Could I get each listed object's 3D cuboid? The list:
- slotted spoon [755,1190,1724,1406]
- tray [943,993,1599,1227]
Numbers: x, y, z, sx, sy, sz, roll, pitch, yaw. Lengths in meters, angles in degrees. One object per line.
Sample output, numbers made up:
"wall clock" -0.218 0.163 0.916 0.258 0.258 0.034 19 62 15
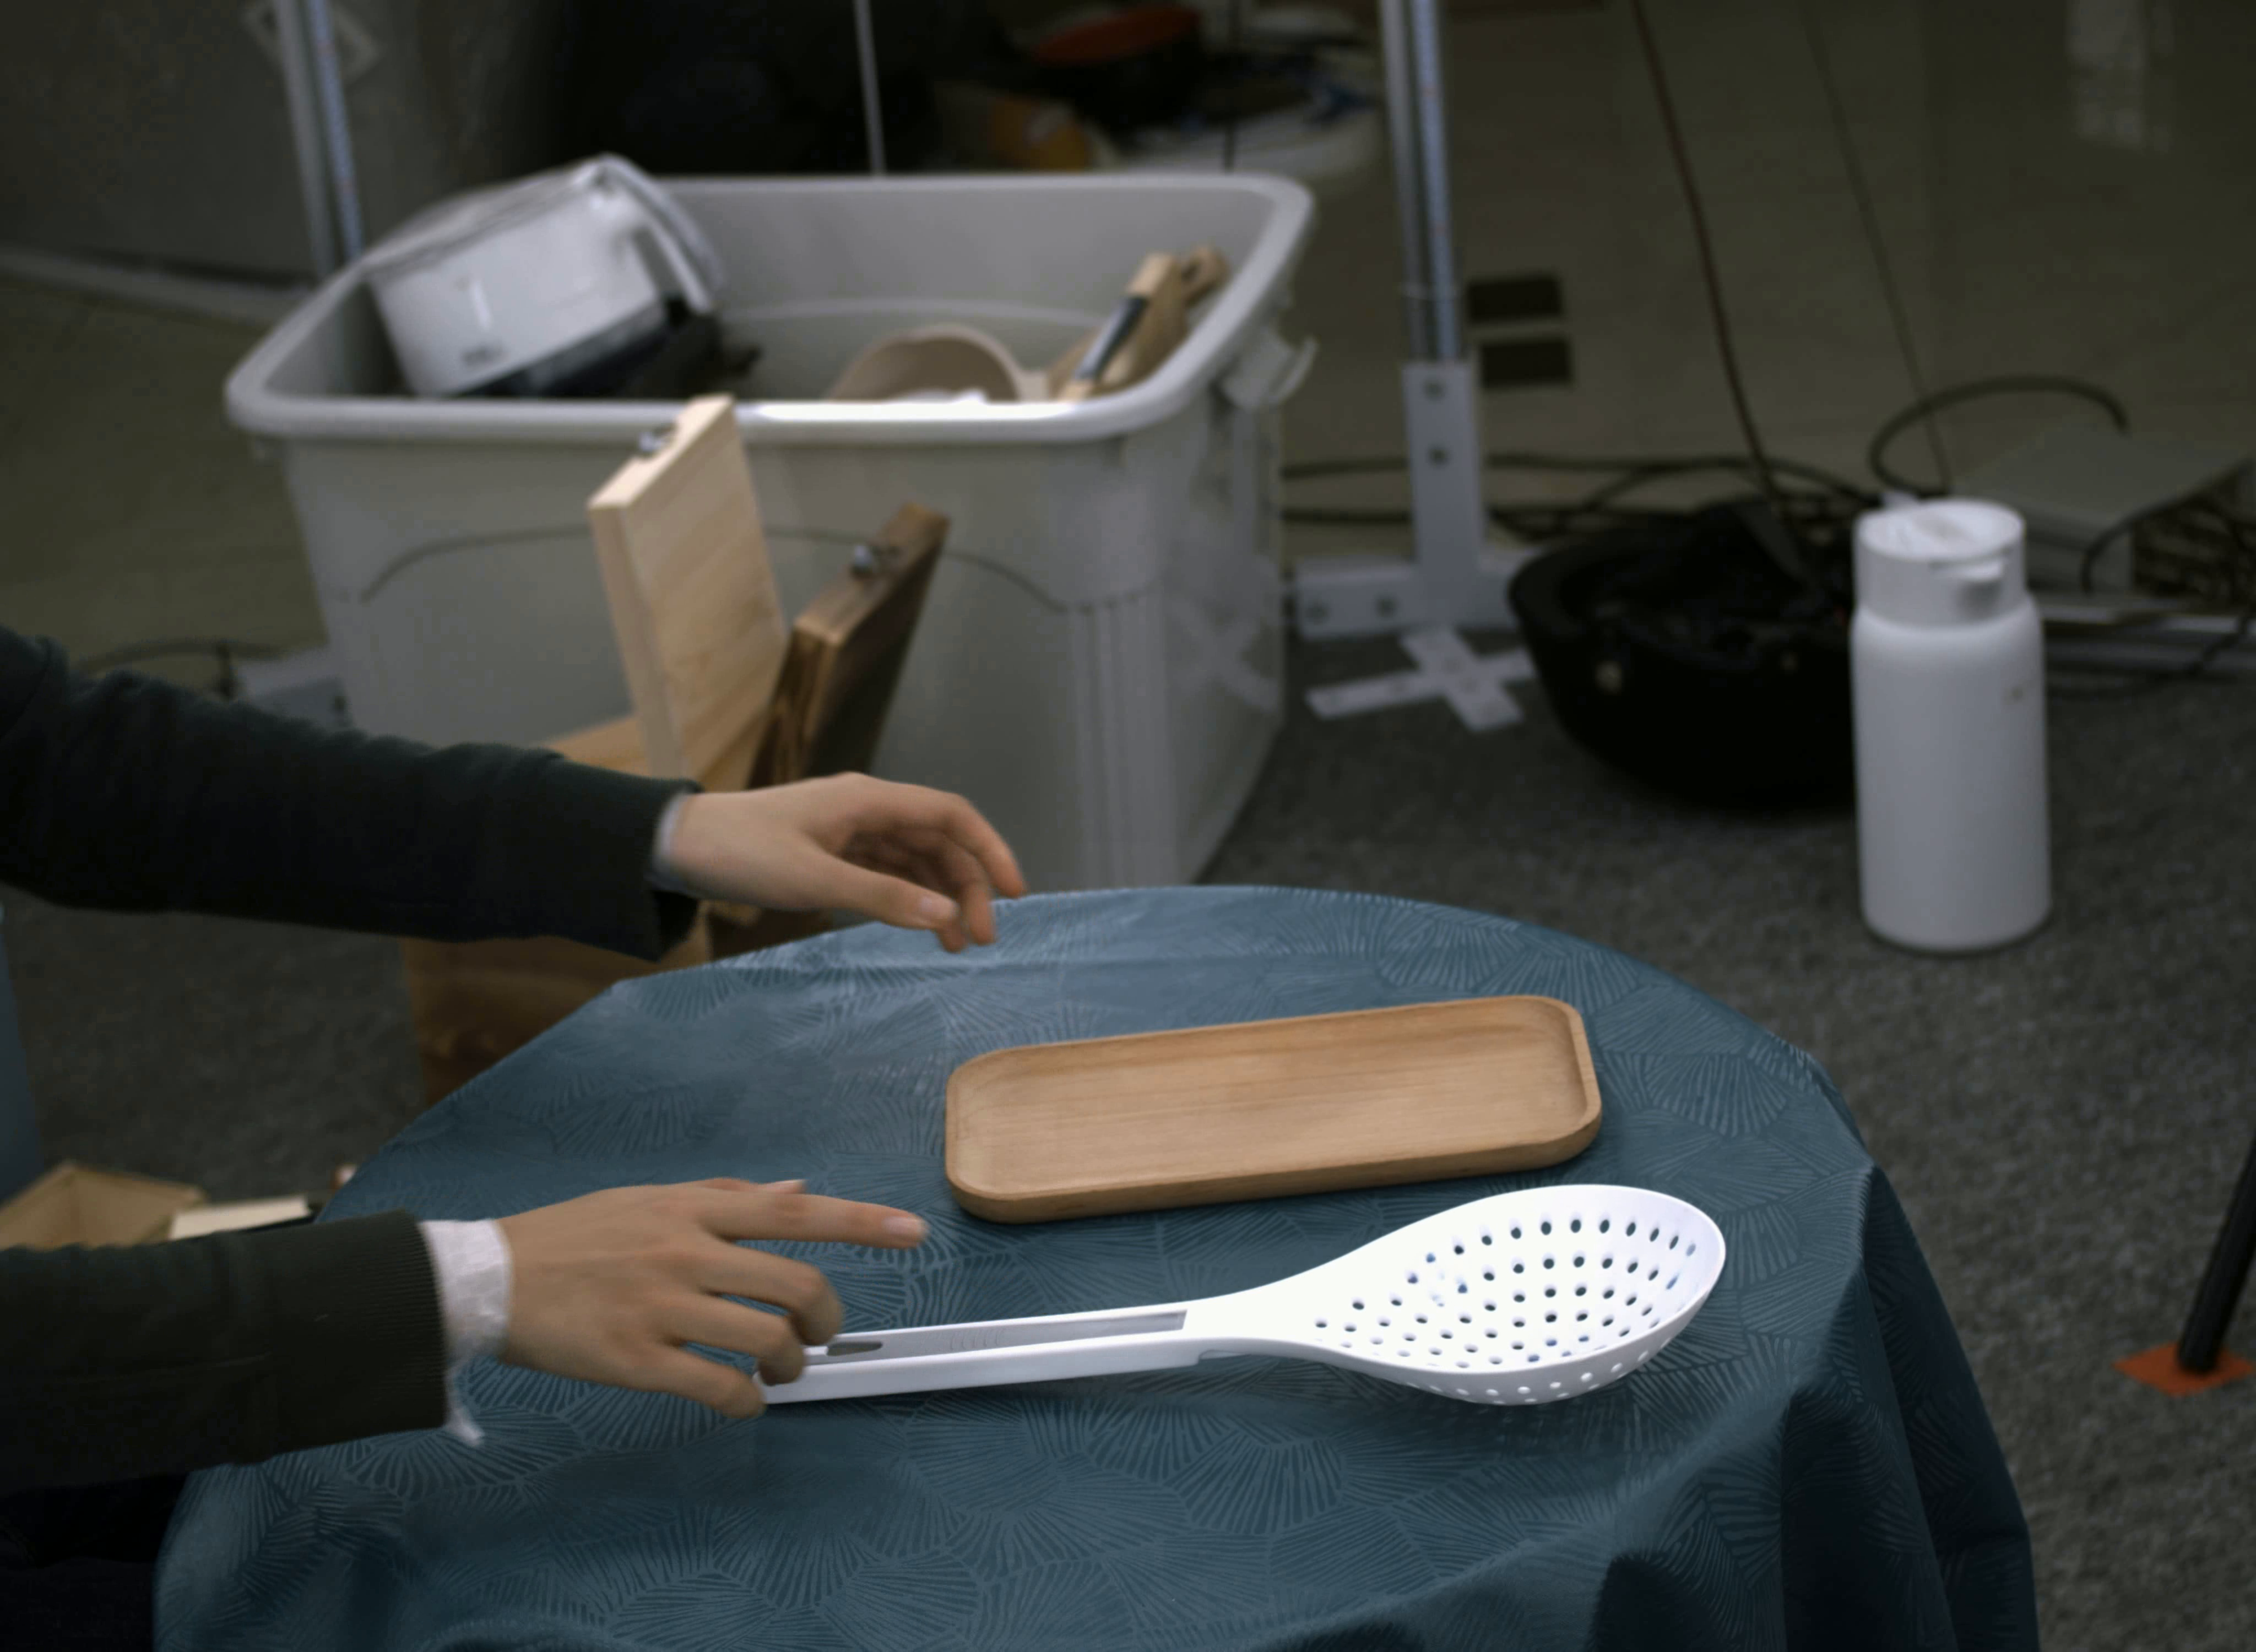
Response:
"slotted spoon" 0.037 0.177 2.007 0.349 0.046 0.134 -3 22 10
"tray" 0.053 0.109 2.184 0.250 0.023 0.129 -7 23 2
